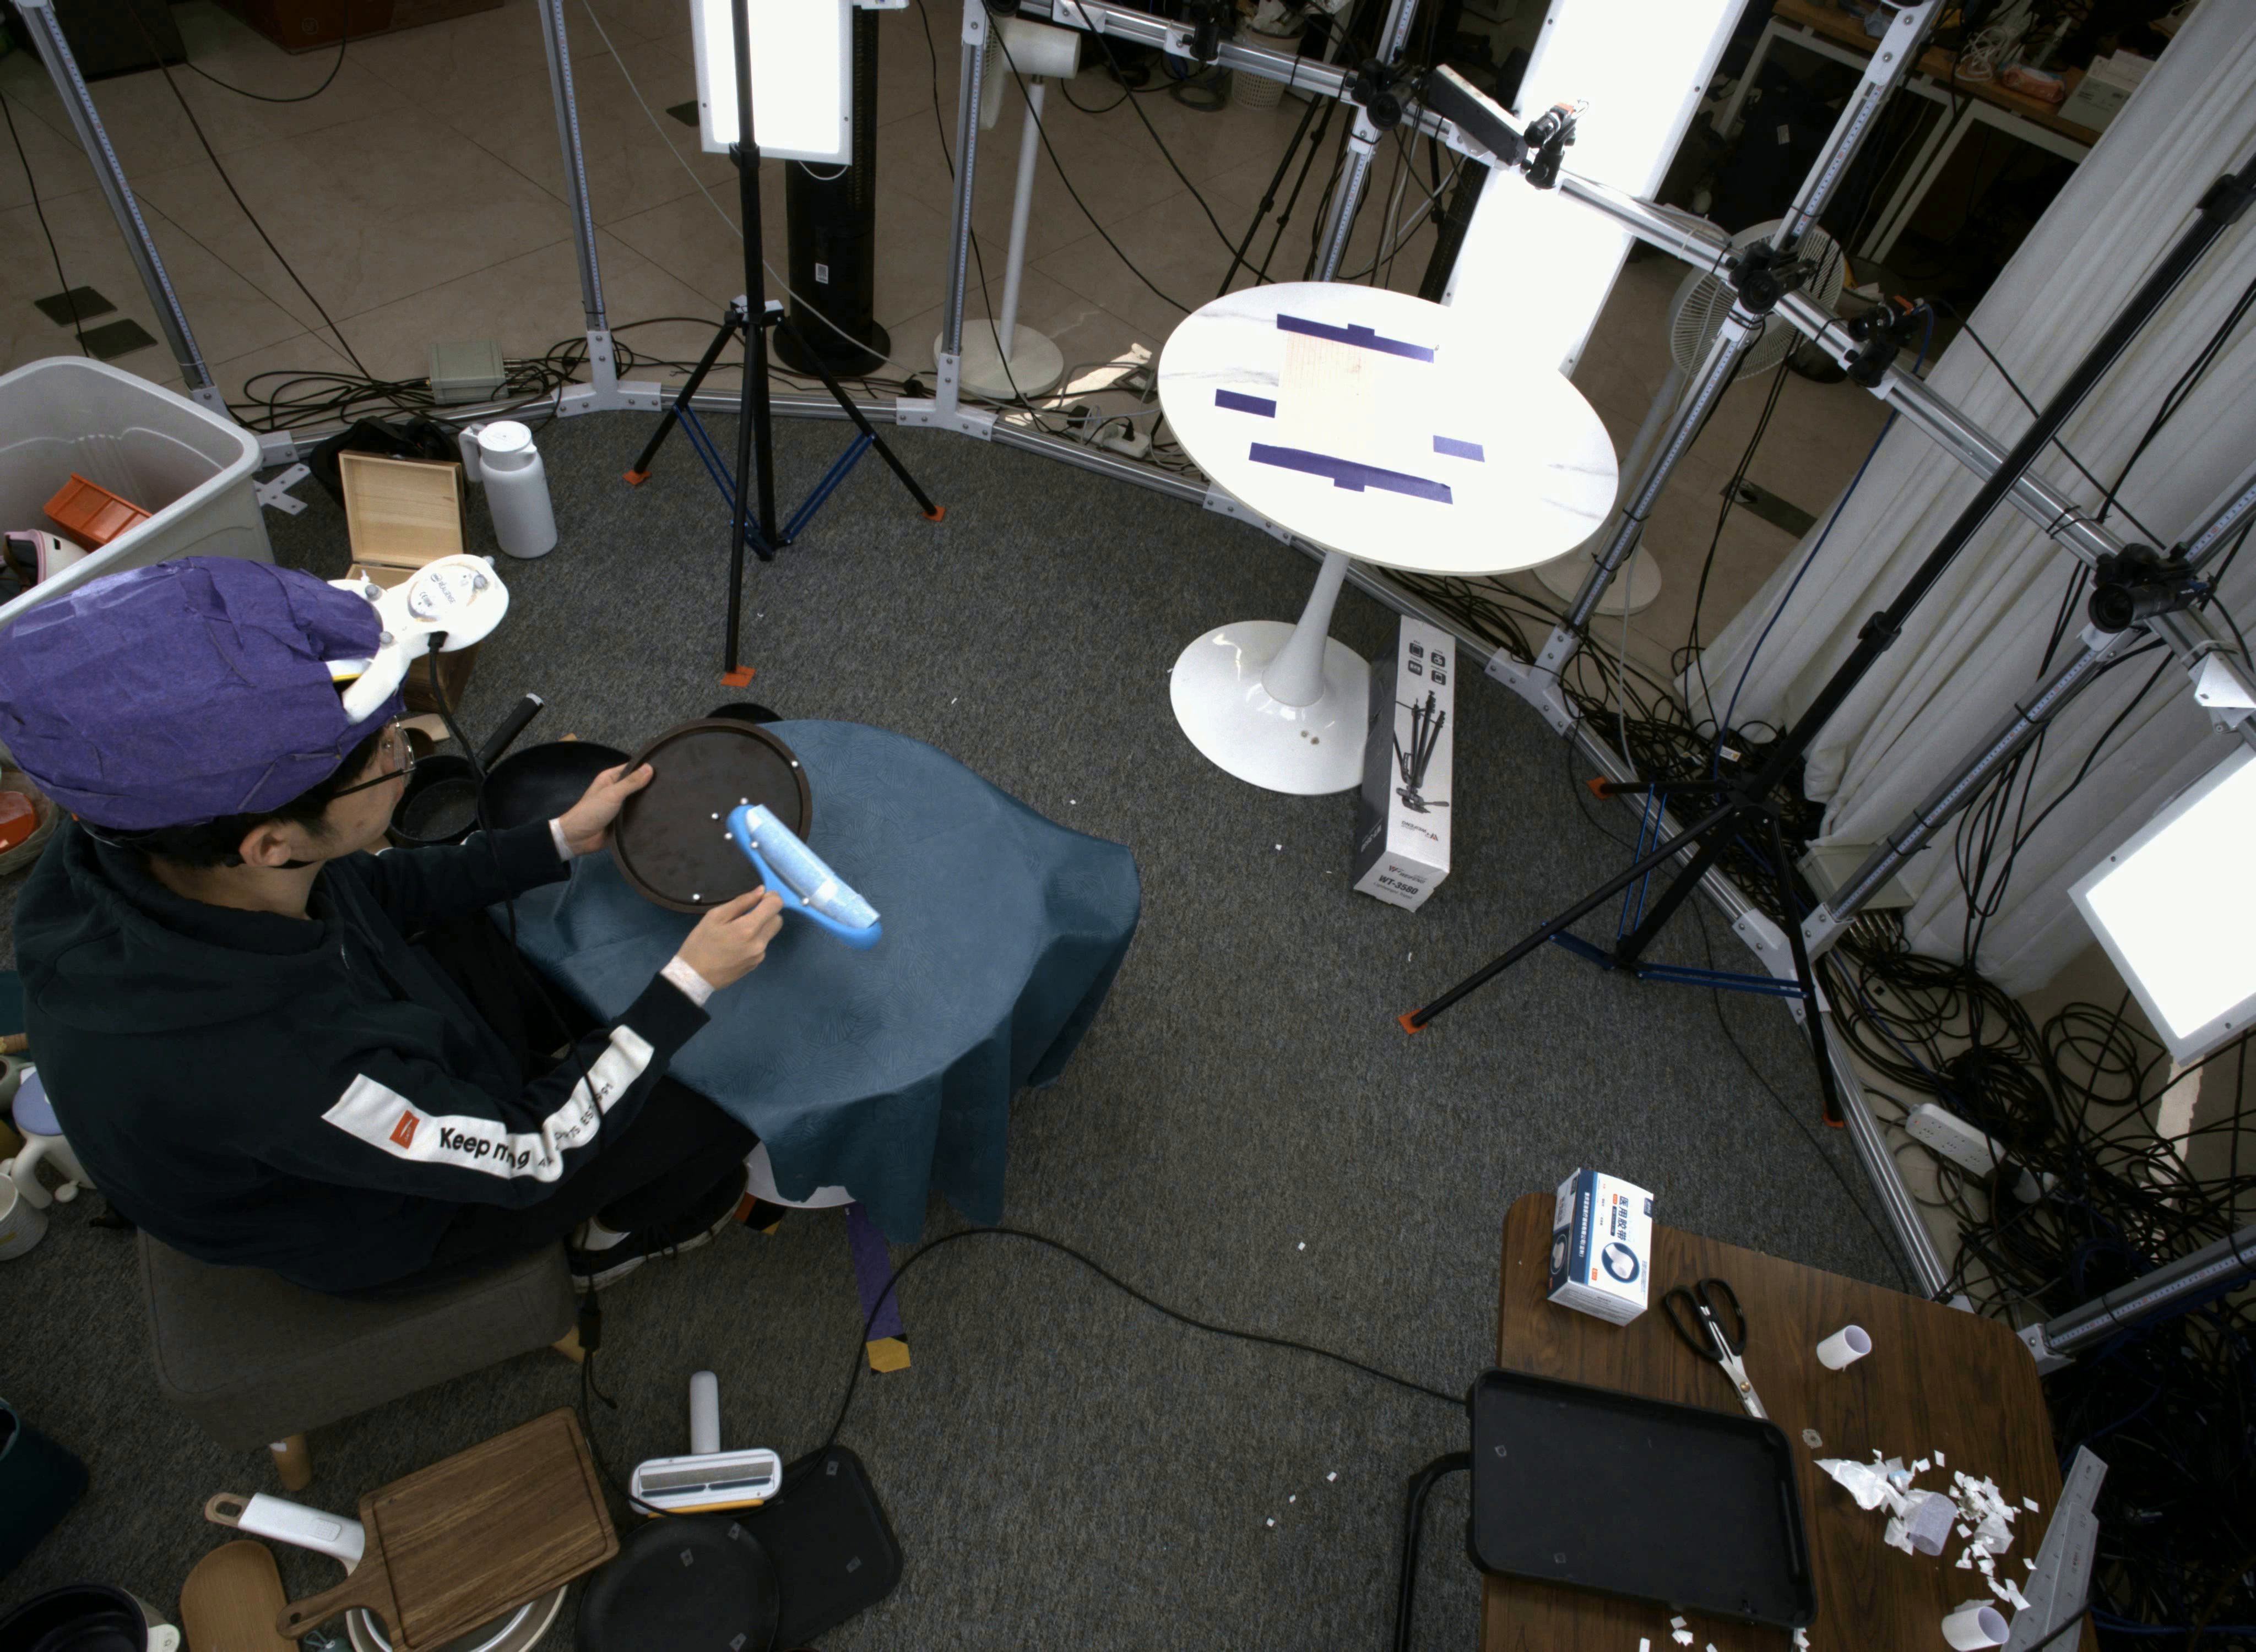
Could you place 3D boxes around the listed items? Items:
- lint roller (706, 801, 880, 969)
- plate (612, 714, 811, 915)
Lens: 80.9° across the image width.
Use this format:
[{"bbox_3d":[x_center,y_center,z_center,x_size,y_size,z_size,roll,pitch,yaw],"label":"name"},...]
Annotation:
[{"bbox_3d":[-0.408,0.089,1.475,0.231,0.067,0.179,43,47,-7],"label":"lint roller"},{"bbox_3d":[-0.512,-0.015,1.585,0.252,0.029,0.254,1,74,-3],"label":"plate"}]
